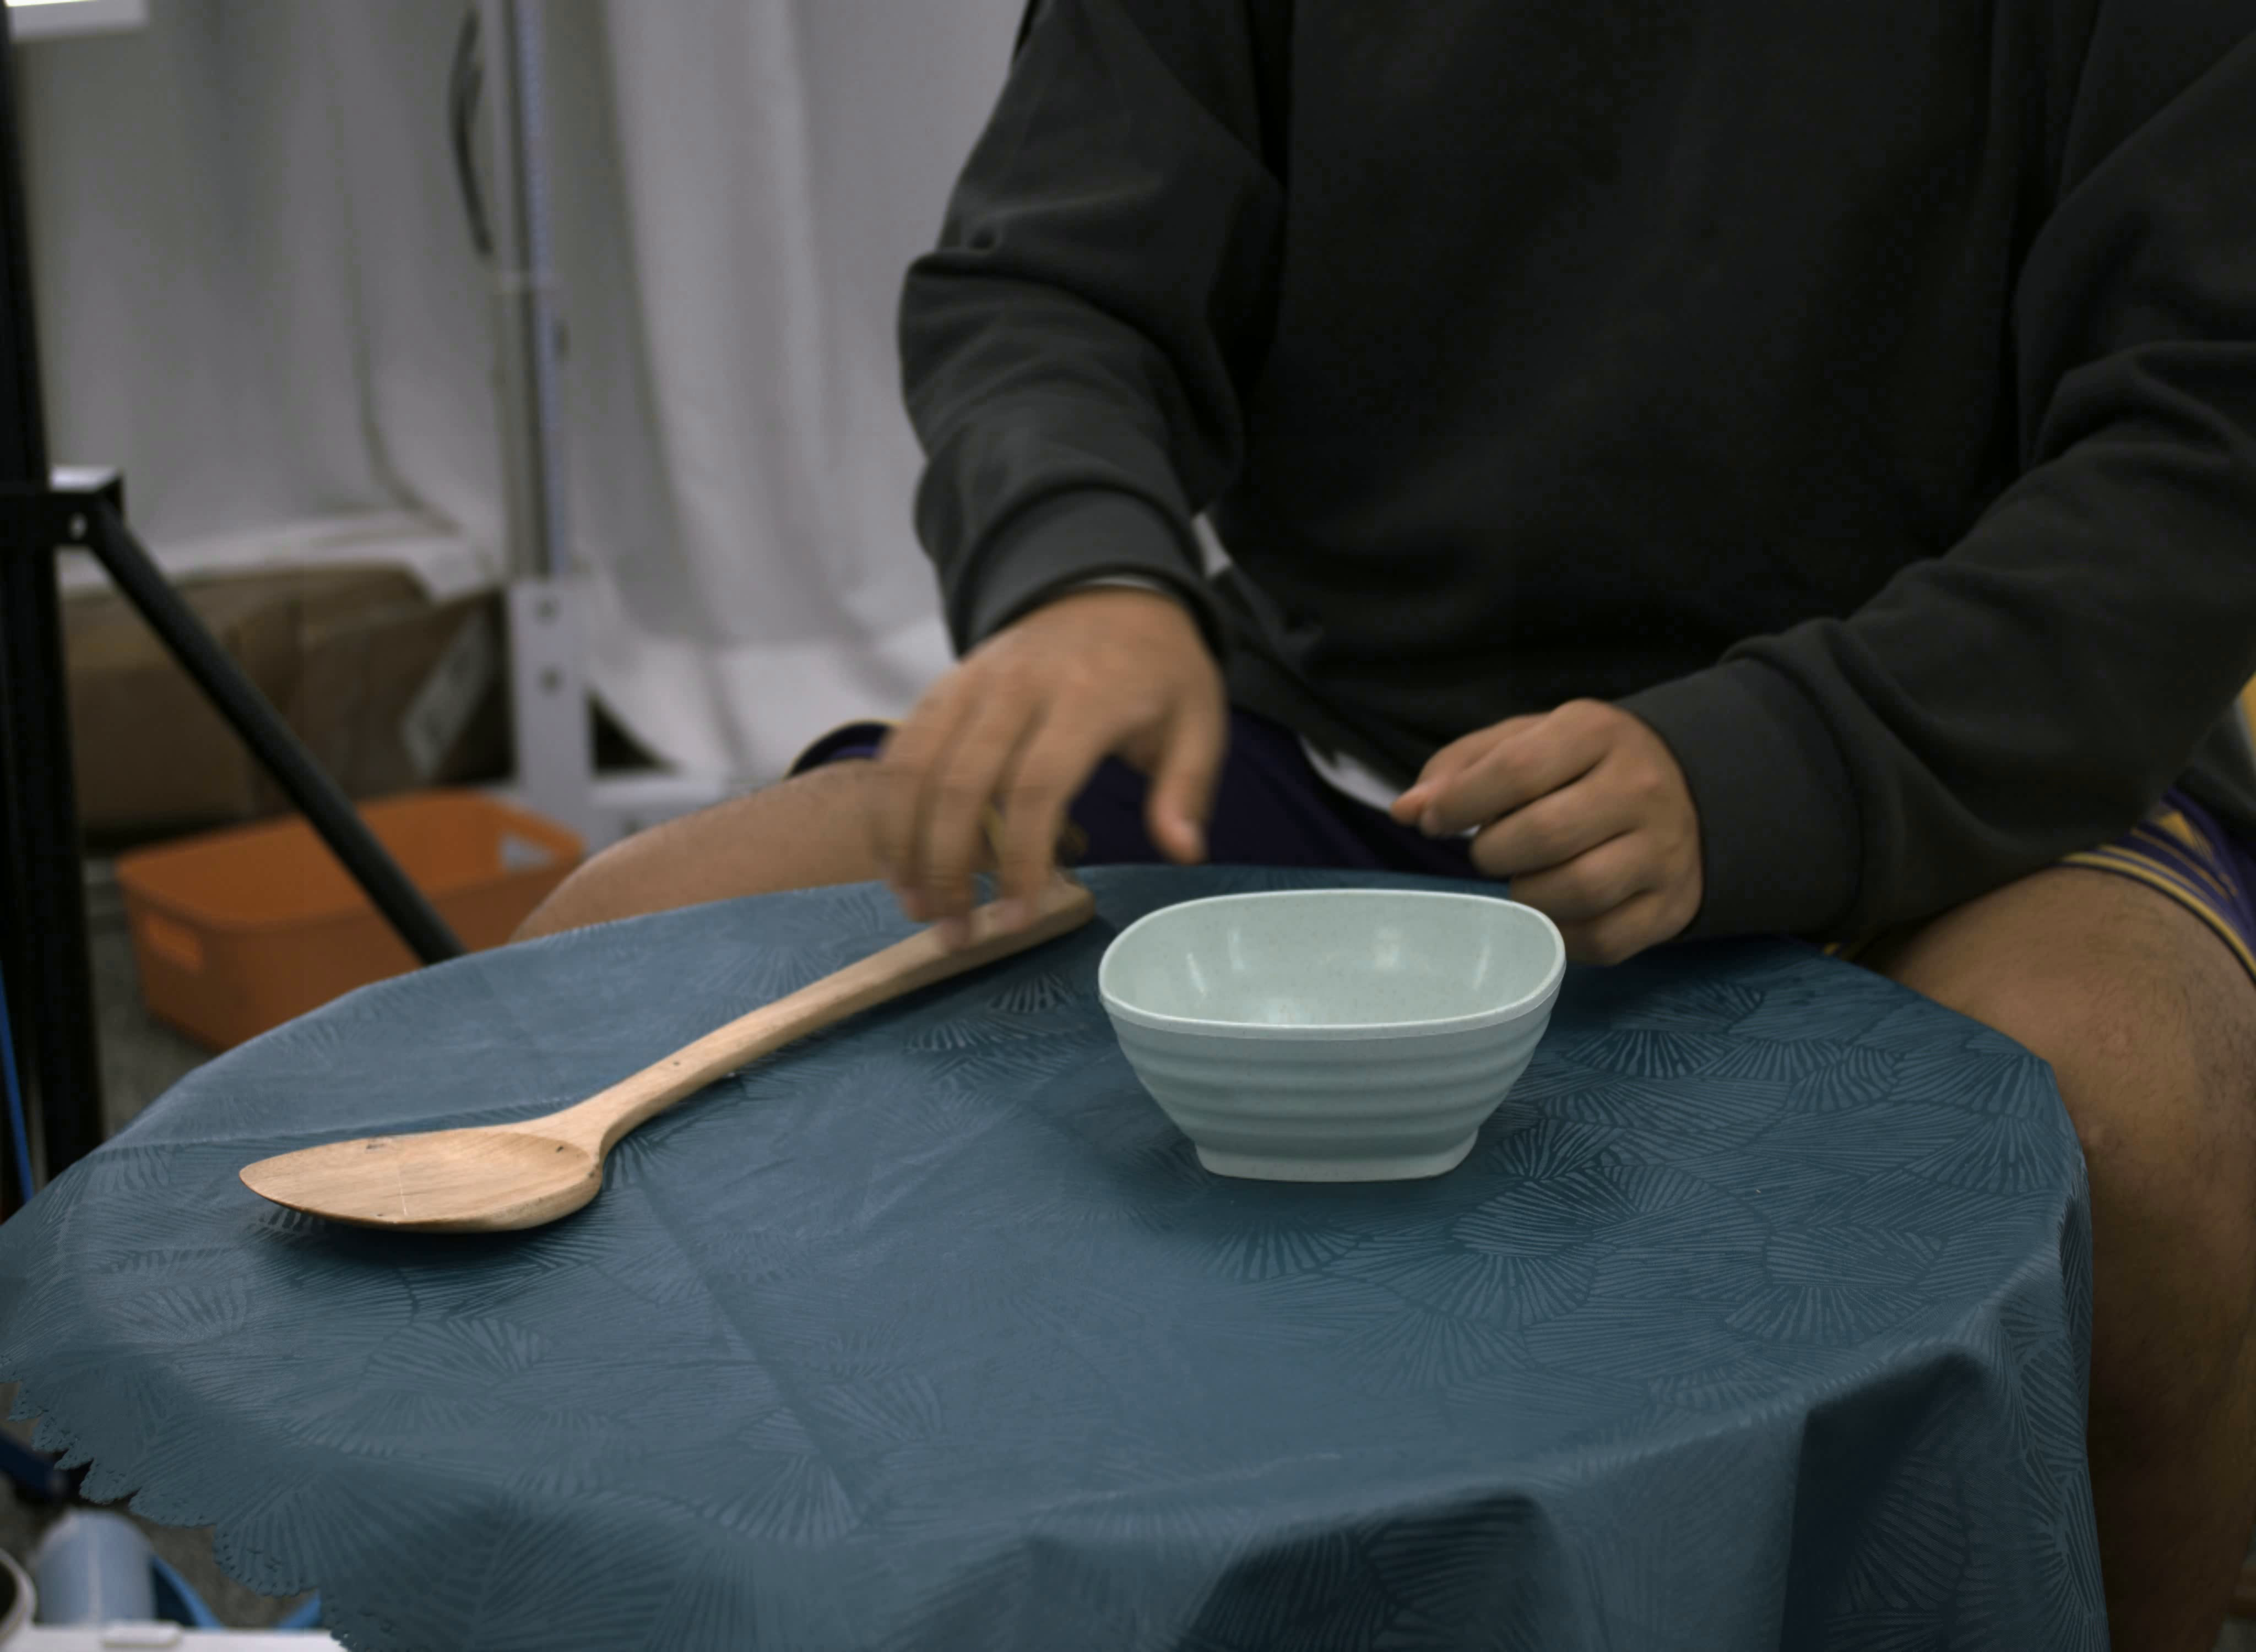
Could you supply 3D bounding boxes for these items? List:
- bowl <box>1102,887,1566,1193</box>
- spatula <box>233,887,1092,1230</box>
[{"bbox_3d":[0.063,0.068,1.594,0.151,0.058,0.152,-3,17,0],"label":"bowl"},{"bbox_3d":[-0.127,0.068,1.691,0.097,0.018,0.383,10,20,32],"label":"spatula"}]
